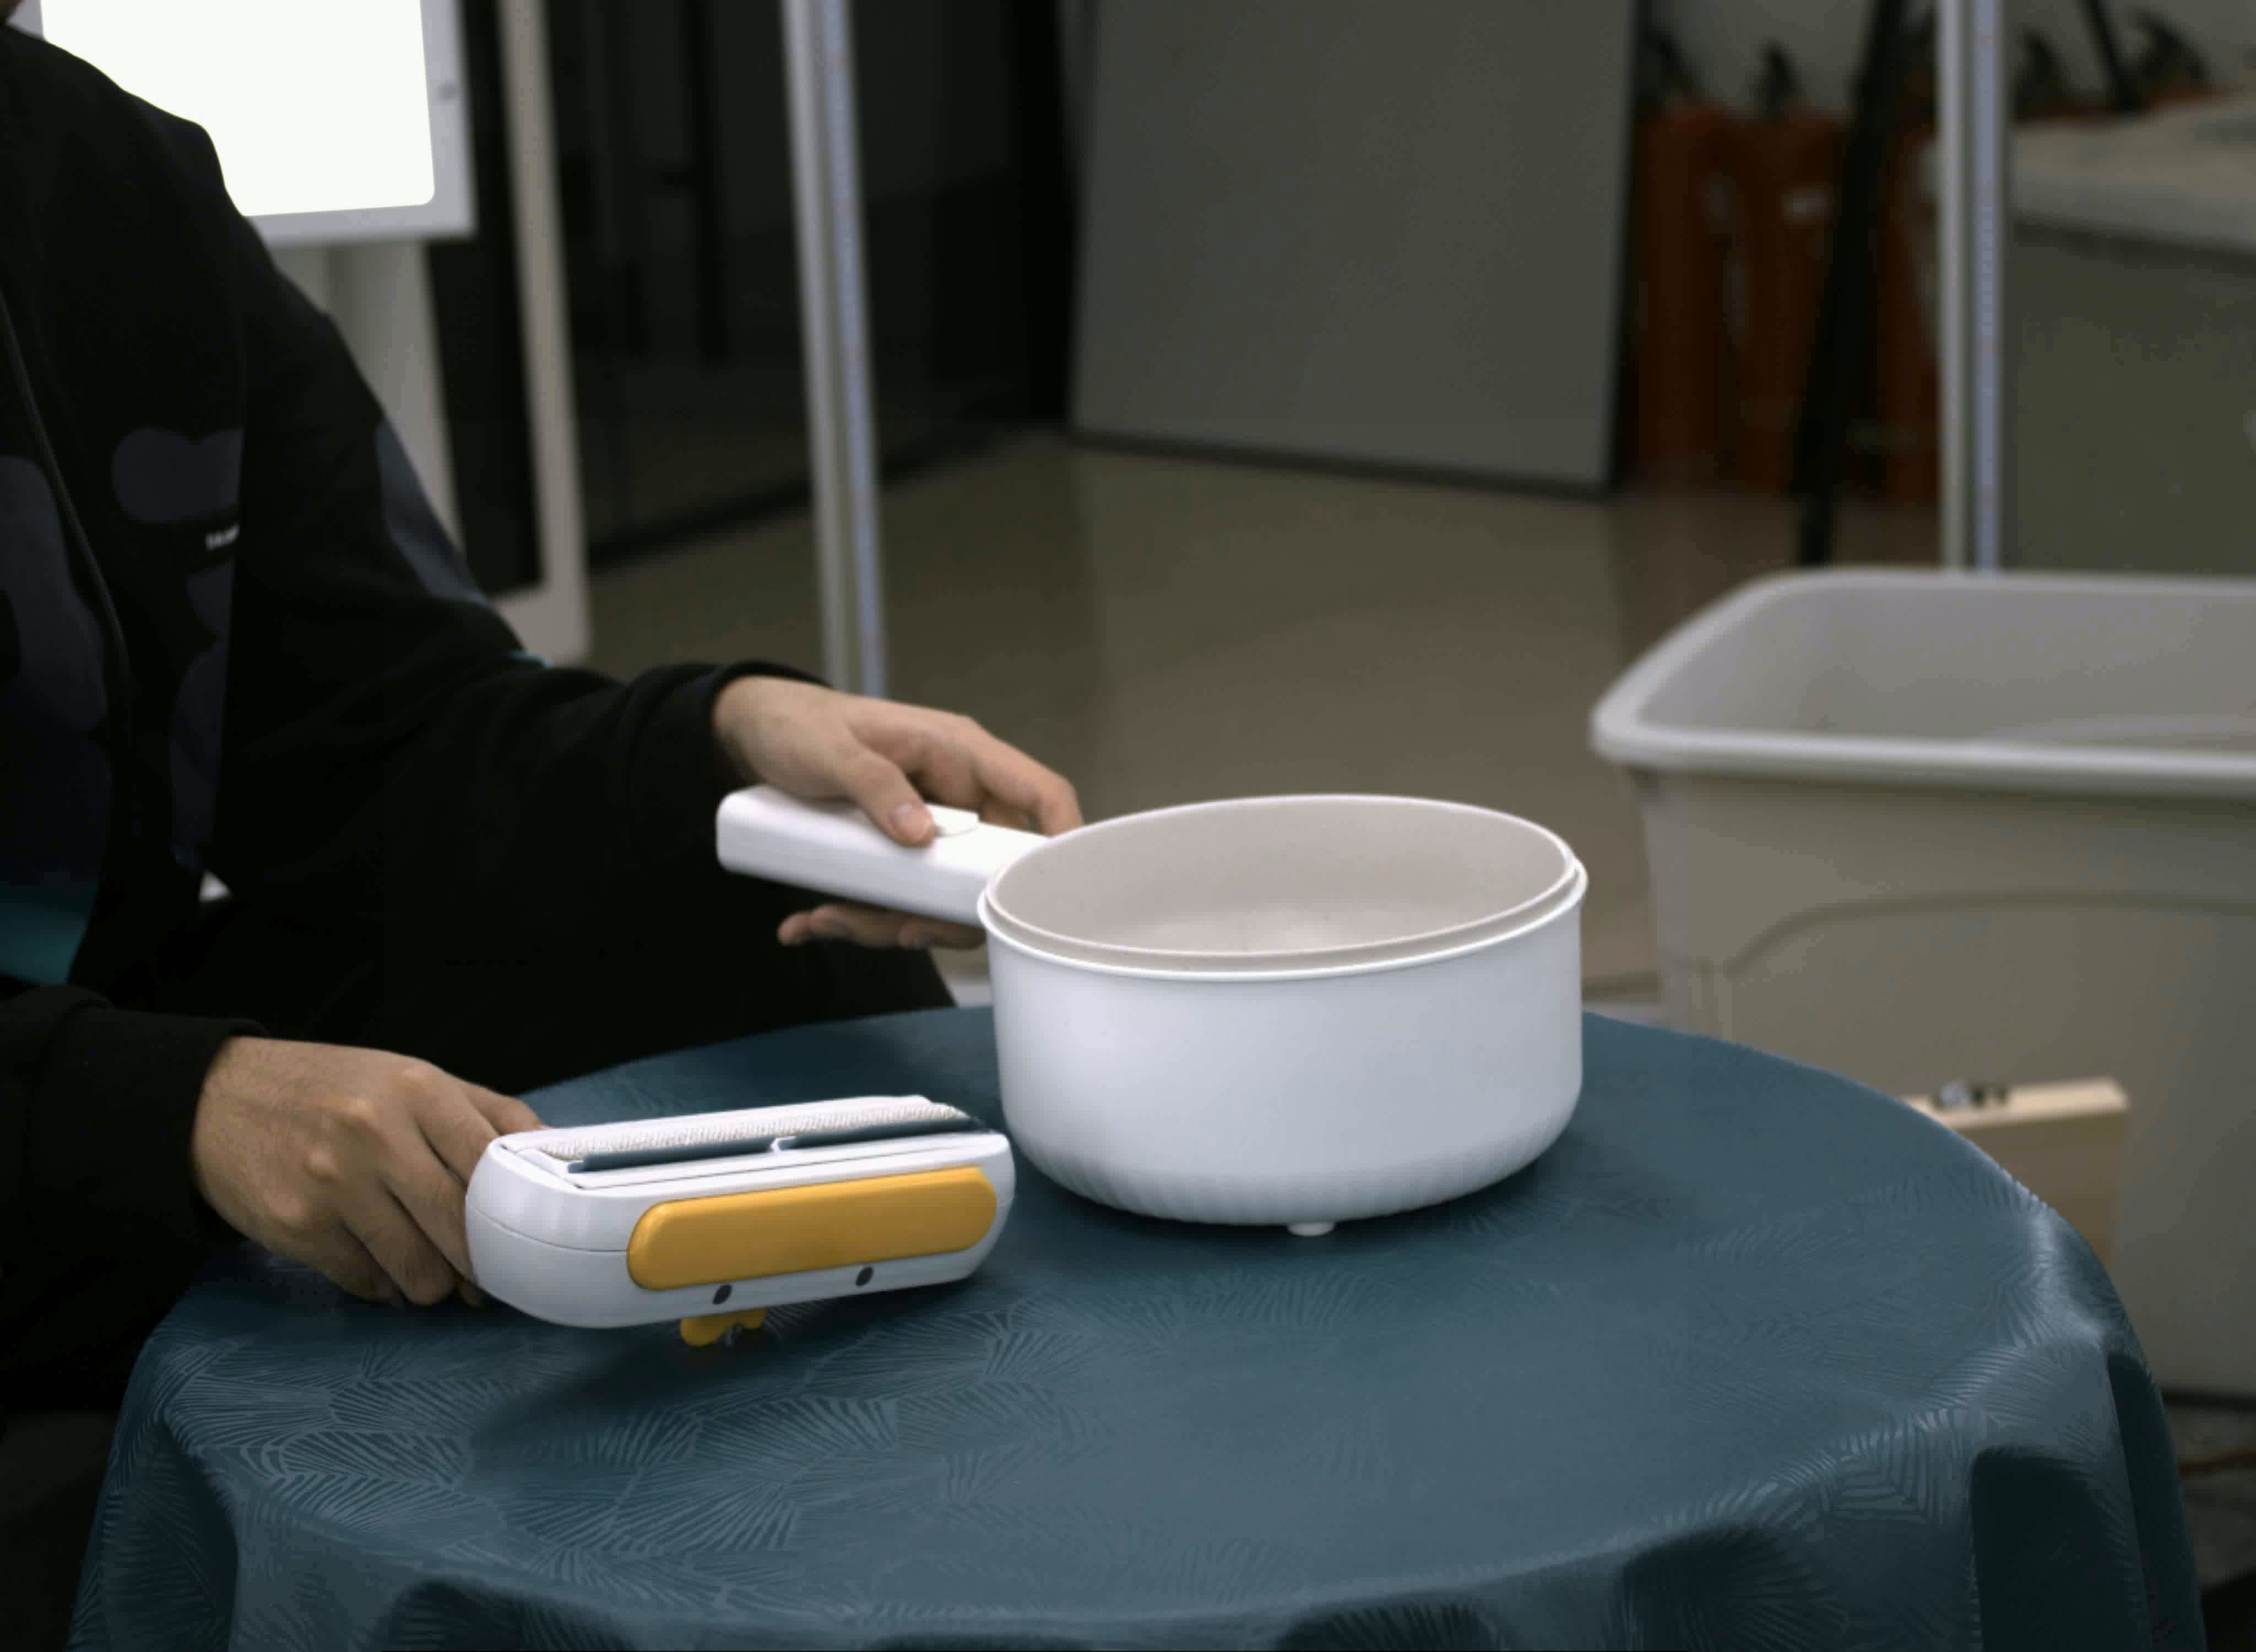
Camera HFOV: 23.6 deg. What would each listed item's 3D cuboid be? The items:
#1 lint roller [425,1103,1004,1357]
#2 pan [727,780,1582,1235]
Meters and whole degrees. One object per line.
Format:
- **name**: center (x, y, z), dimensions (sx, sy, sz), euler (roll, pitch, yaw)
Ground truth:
- **lint roller**: center (-0.159, 0.118, 1.691), dimensions (0.188, 0.075, 0.194), euler (-8, 12, -38)
- **pan**: center (-0.003, 0.053, 1.831), dimensions (0.358, 0.103, 0.197), euler (9, 19, 43)
